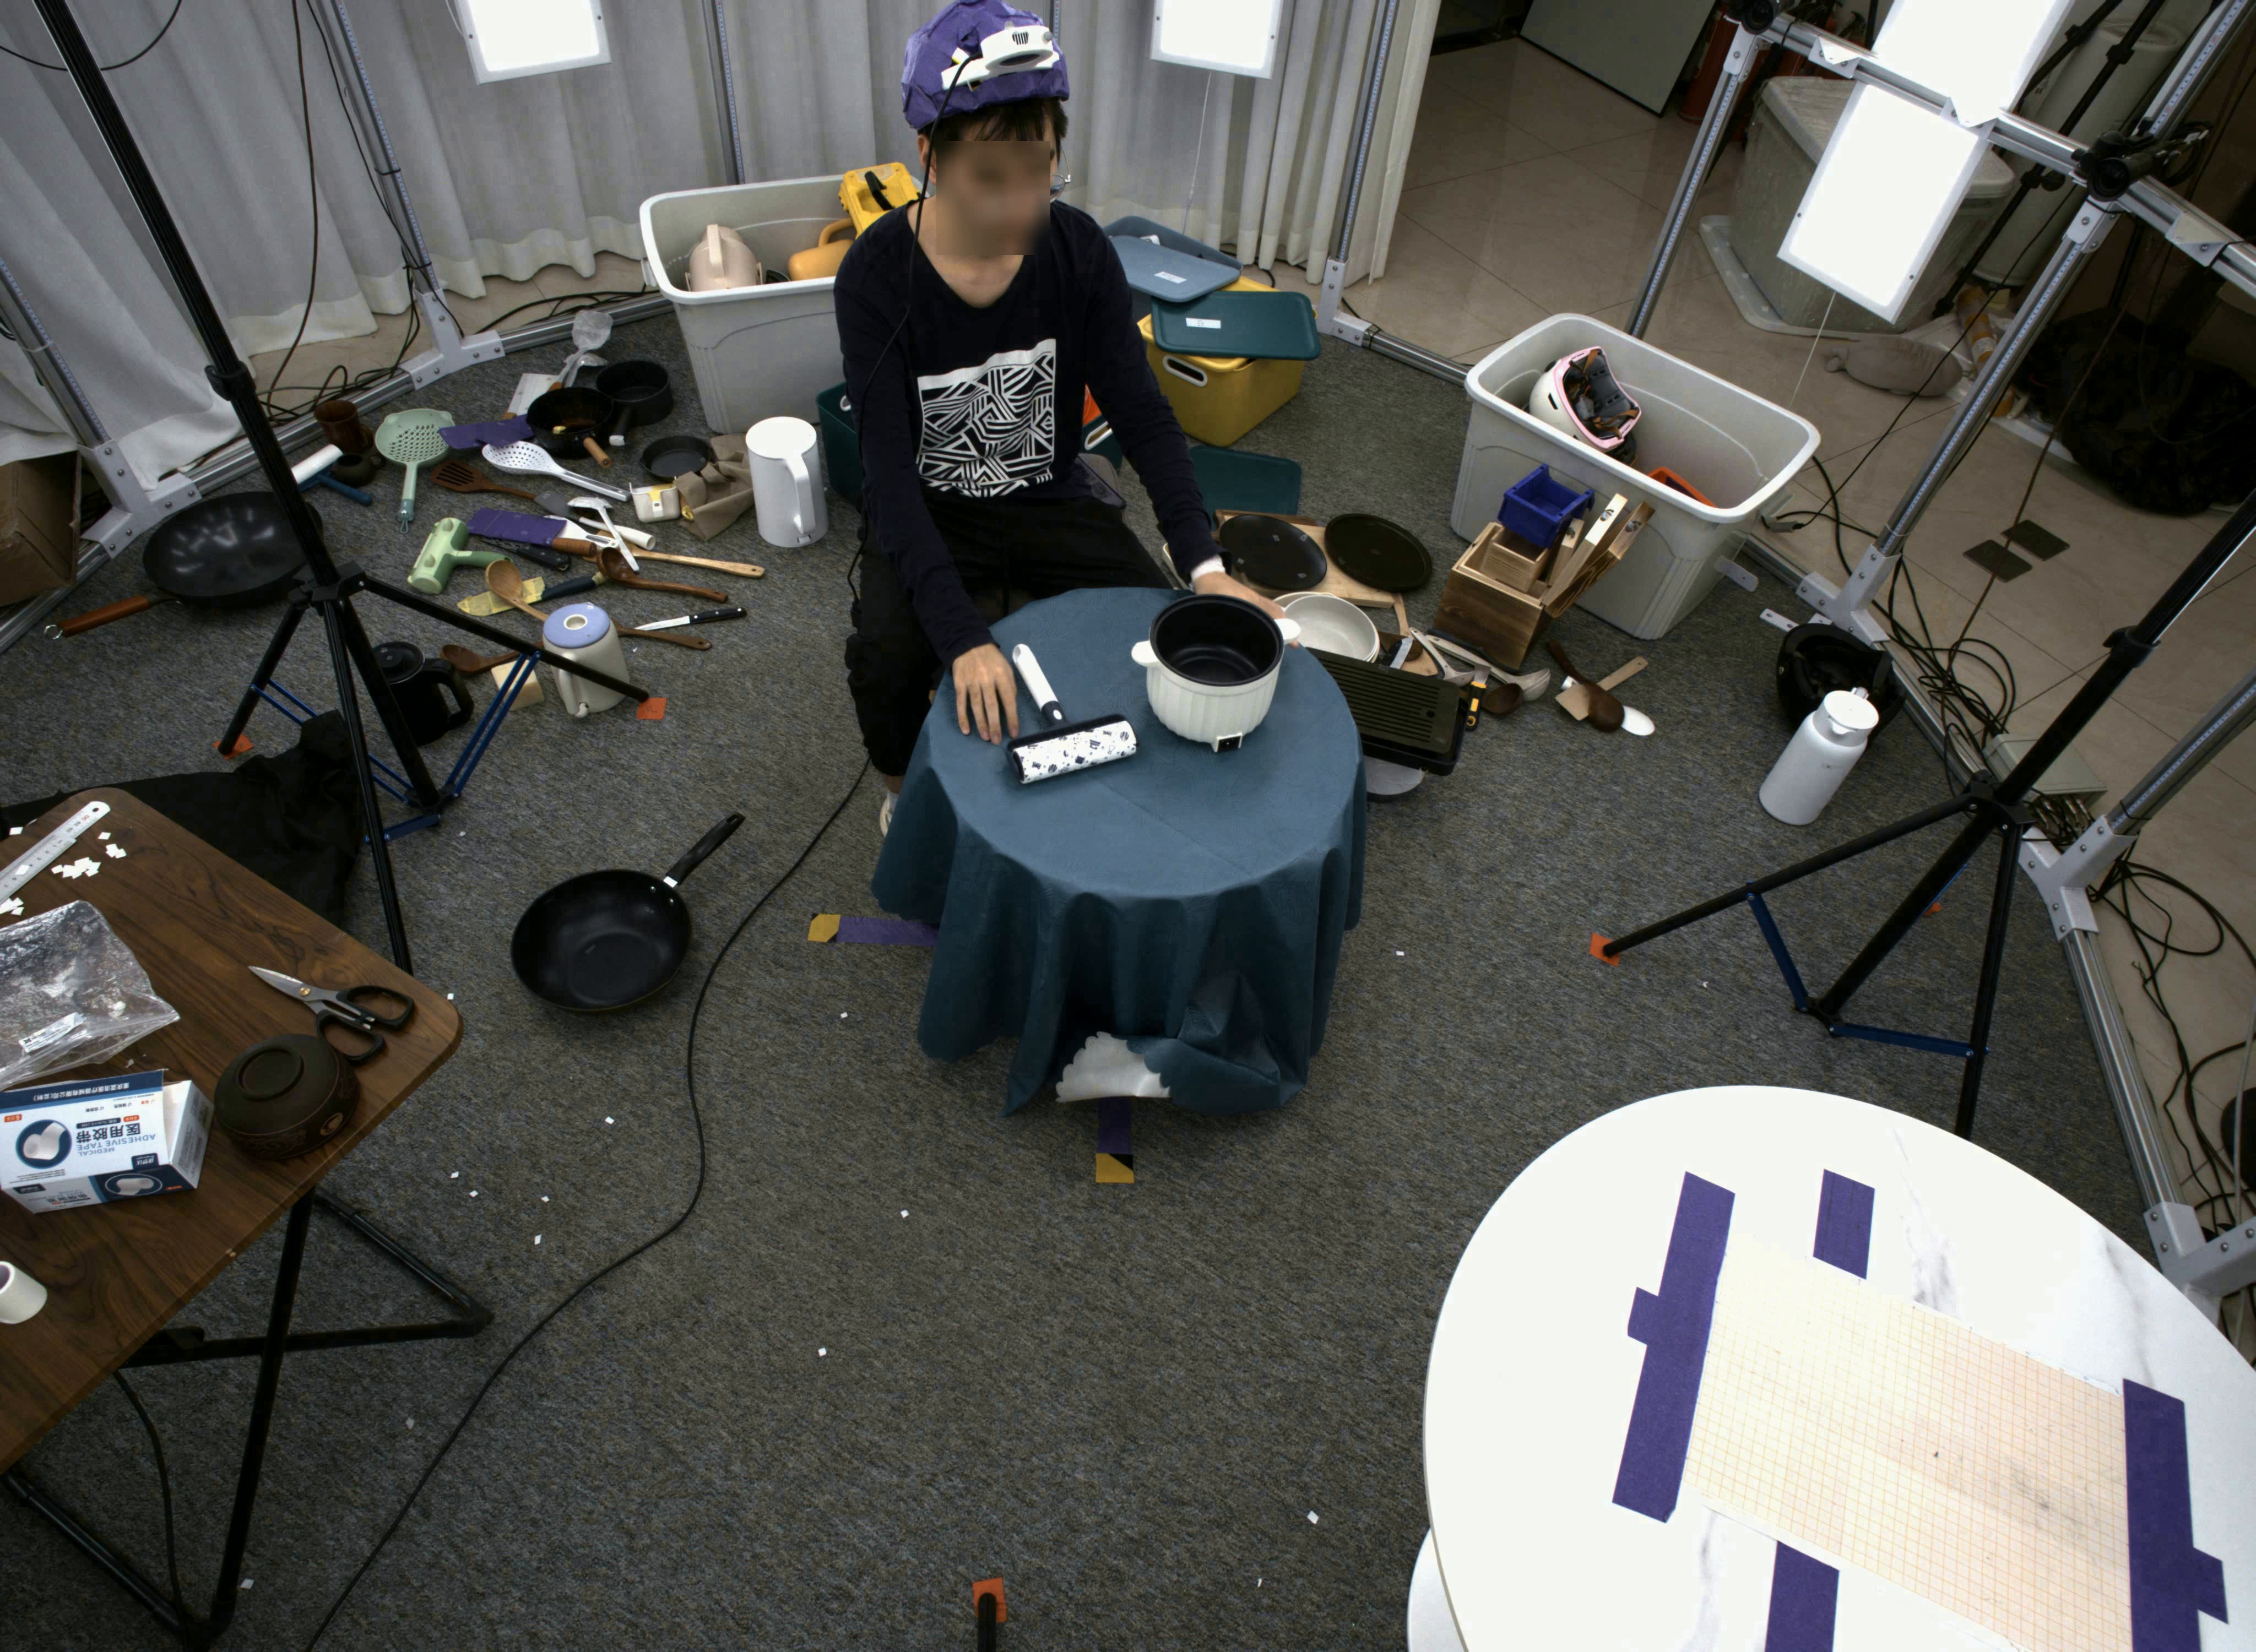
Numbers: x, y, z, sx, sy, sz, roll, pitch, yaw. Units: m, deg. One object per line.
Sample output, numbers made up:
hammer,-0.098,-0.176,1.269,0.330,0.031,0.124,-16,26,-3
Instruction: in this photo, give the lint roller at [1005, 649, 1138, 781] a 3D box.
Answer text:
lint roller,-0.112,-0.171,1.782,0.176,0.049,0.253,-17,50,-16

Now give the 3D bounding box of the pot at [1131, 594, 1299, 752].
pot,0.112,-0.213,1.770,0.240,0.139,0.195,-11,53,-15
